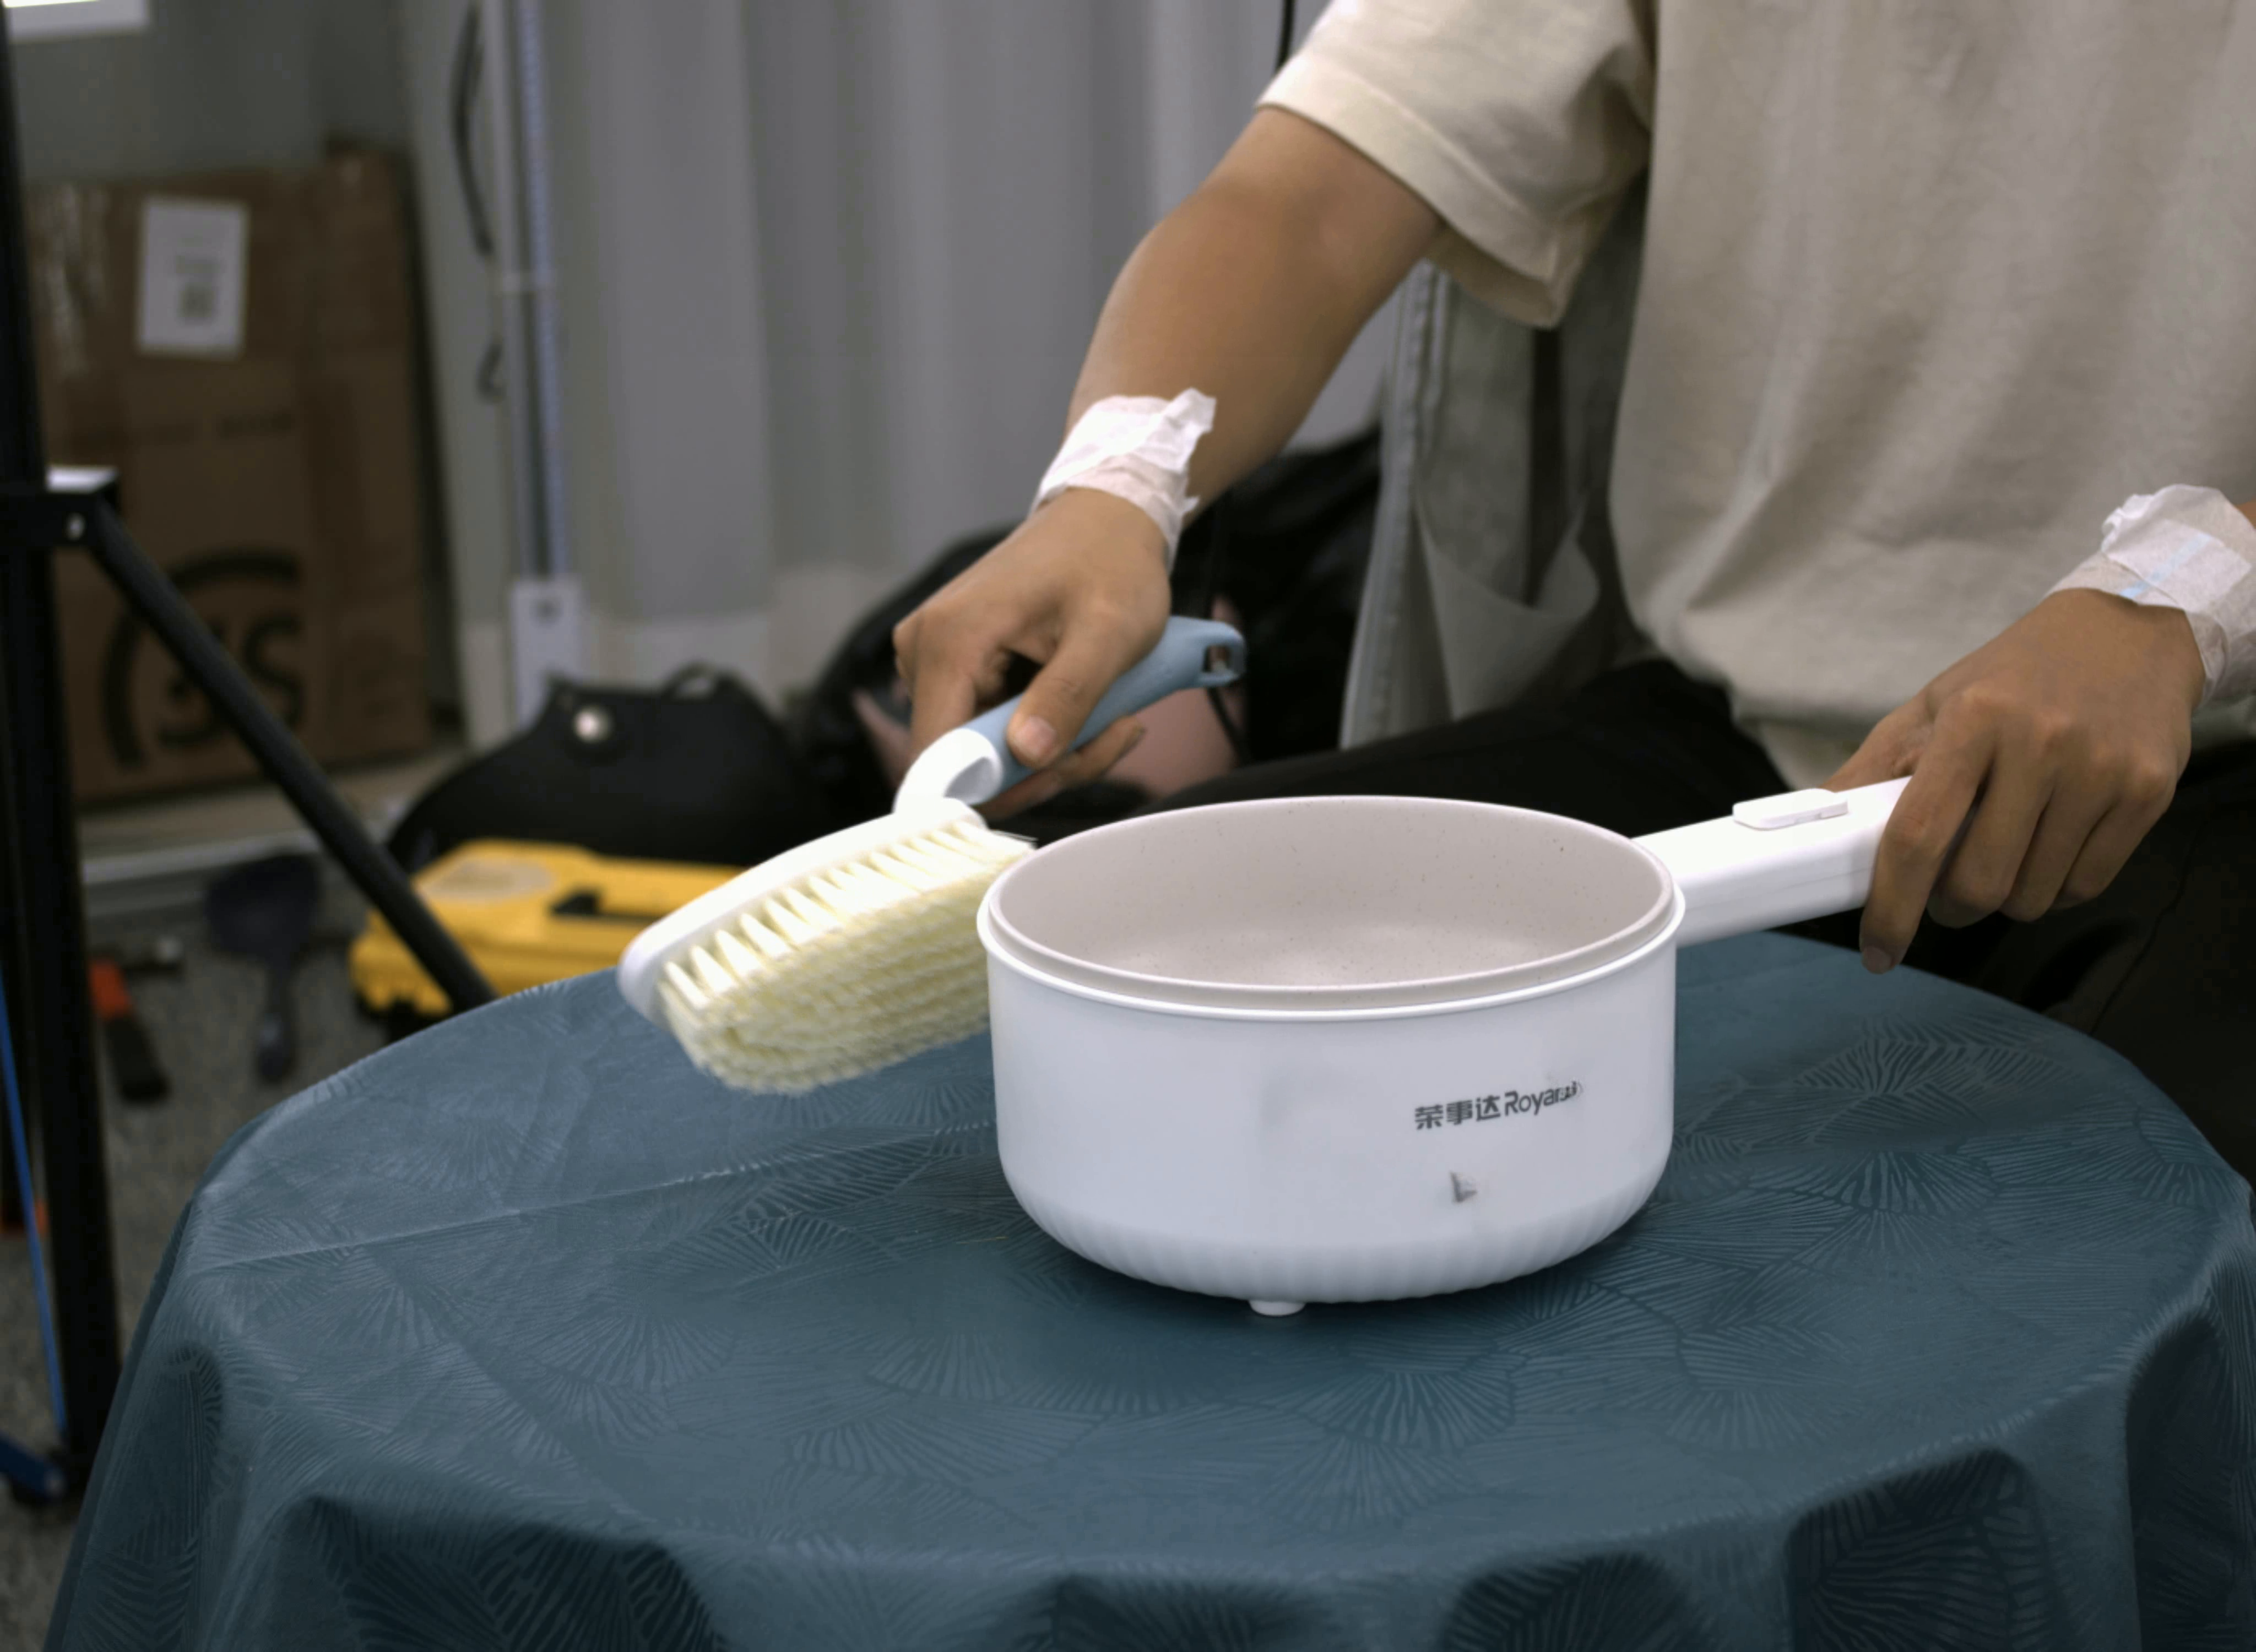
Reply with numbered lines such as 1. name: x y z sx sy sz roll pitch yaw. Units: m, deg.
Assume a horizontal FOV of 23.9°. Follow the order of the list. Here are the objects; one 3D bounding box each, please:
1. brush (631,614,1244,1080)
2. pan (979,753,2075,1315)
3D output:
1. brush: -0.027 0.001 1.637 0.084 0.085 0.319 -33 -2 39
2. pan: 0.125 0.053 1.546 0.347 0.102 0.205 -10 17 -27
